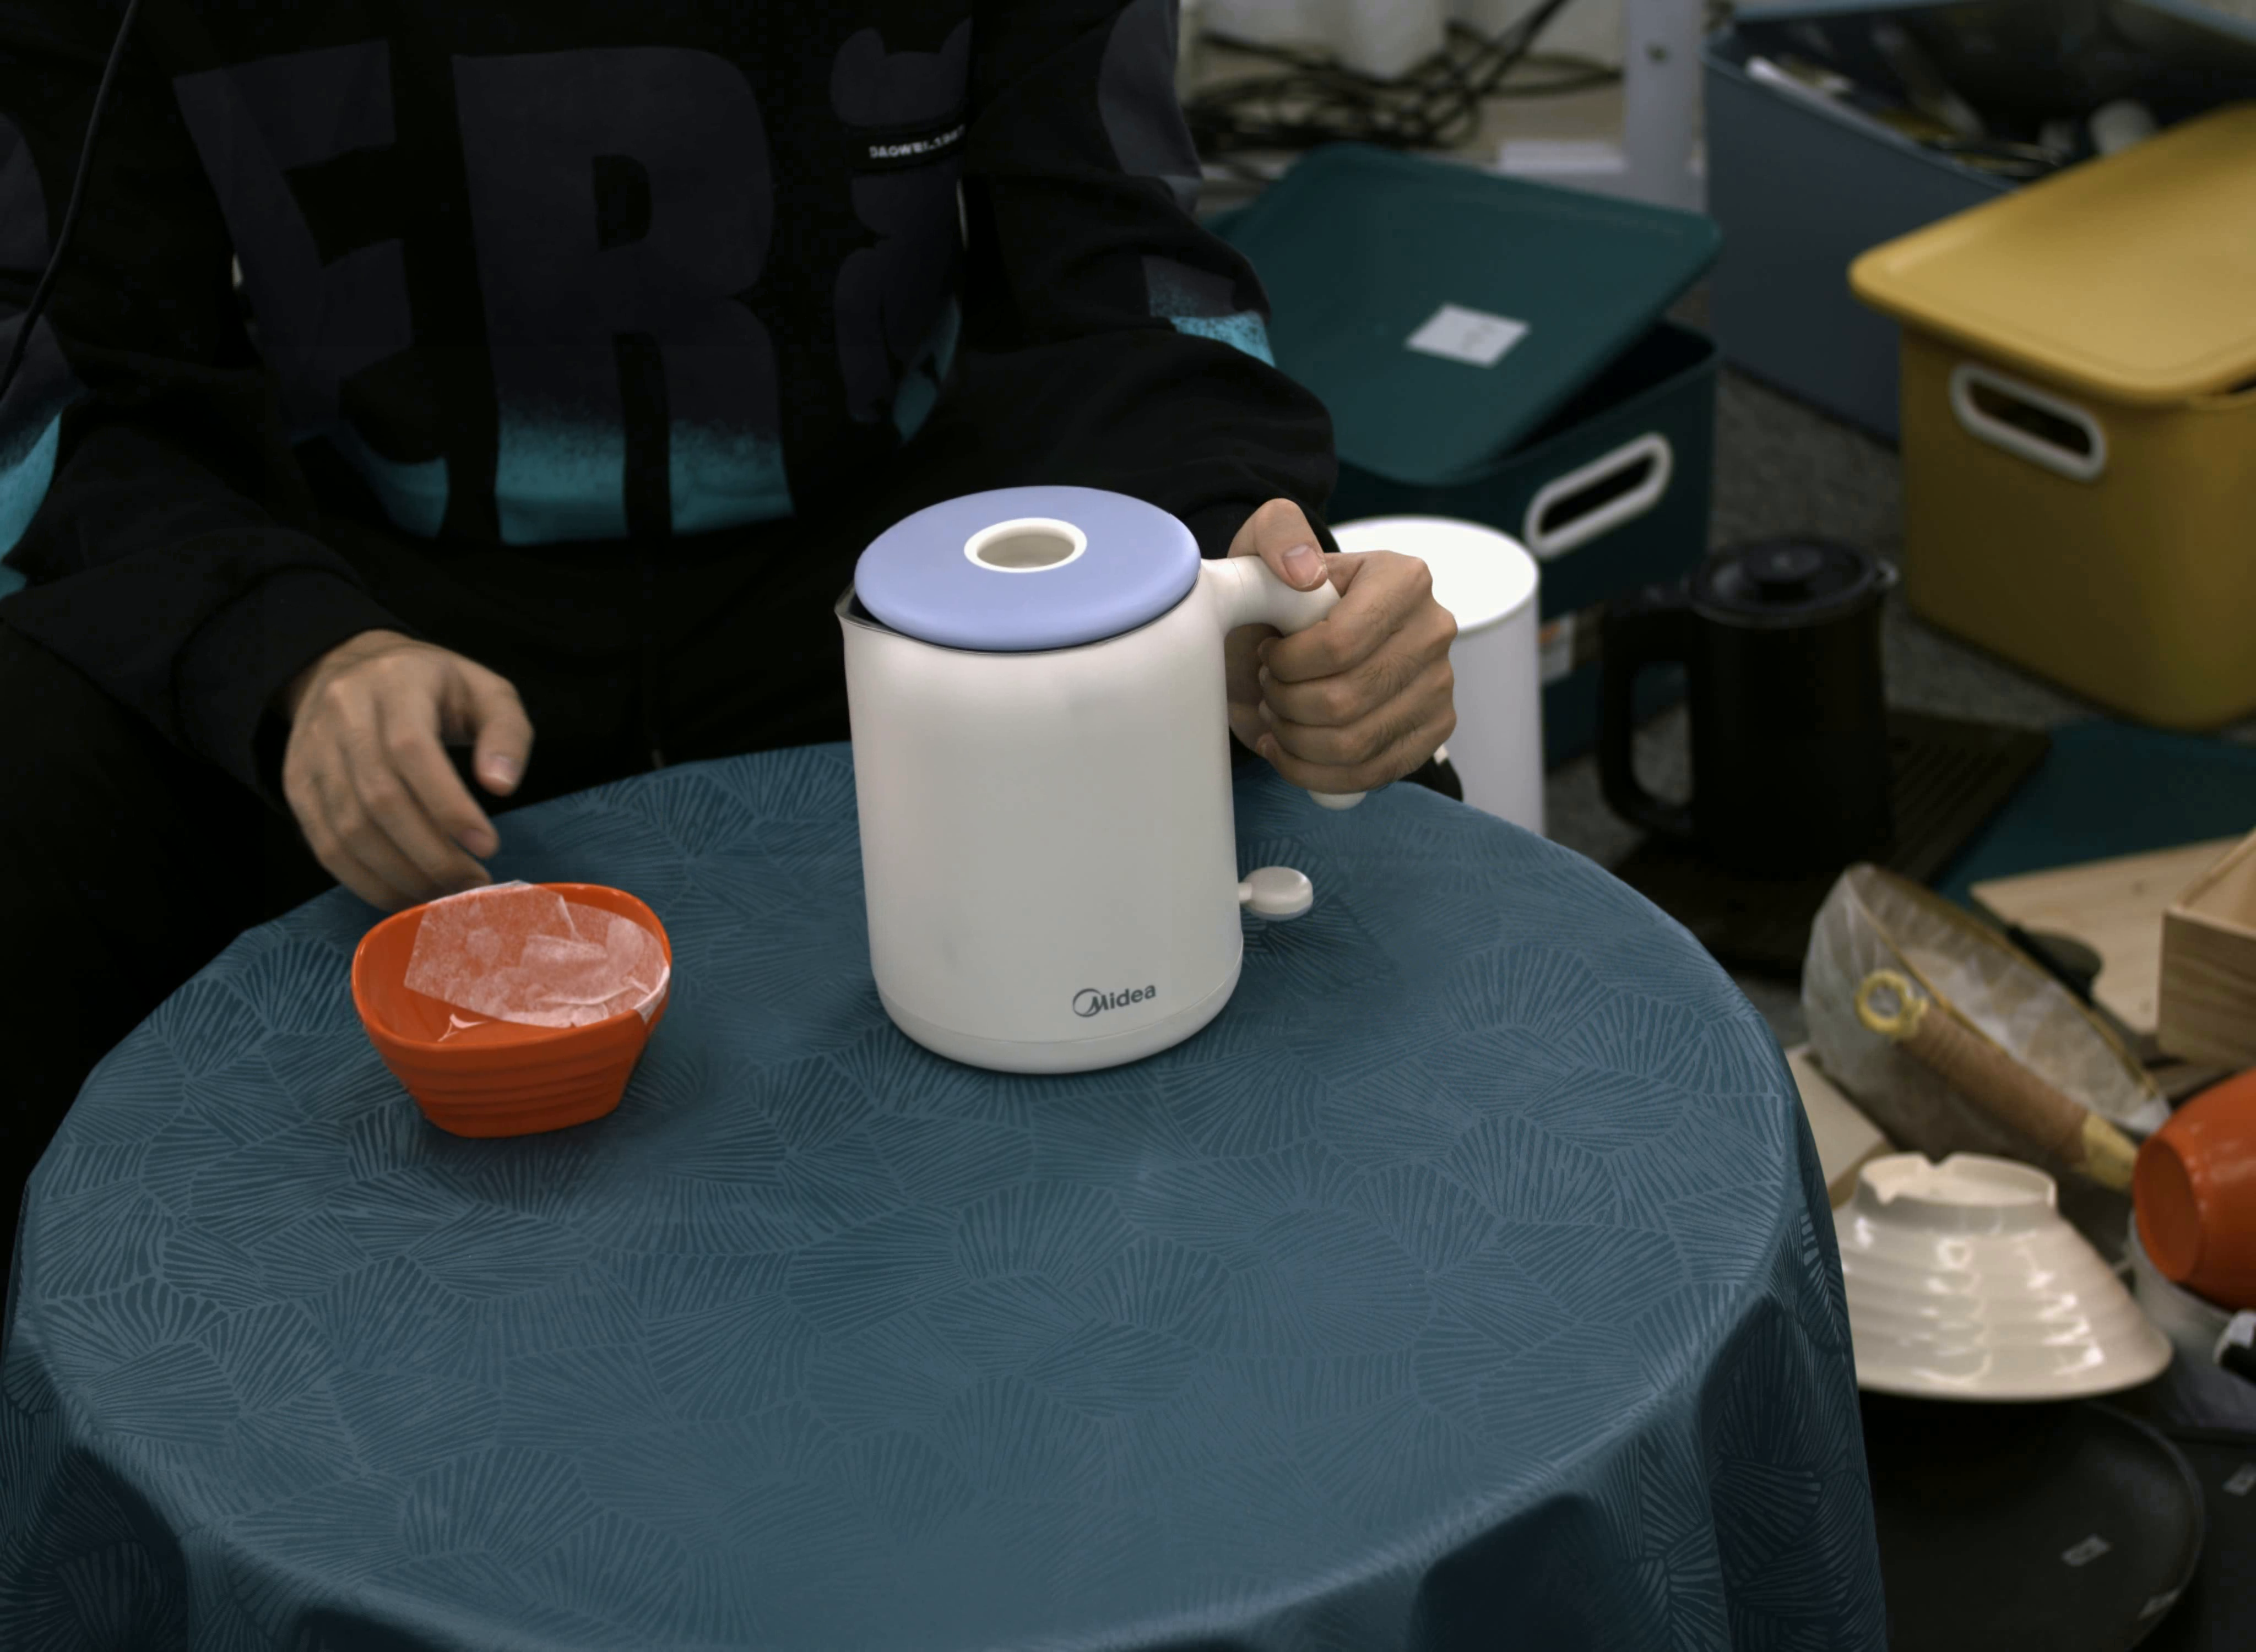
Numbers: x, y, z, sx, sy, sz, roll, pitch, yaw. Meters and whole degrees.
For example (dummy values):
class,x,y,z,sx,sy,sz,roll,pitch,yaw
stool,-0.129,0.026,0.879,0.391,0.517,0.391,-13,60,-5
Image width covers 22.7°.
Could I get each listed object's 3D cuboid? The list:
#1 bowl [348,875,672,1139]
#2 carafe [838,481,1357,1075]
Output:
class,x,y,z,sx,sy,sz,roll,pitch,yaw
bowl,-0.209,0.067,1.928,0.118,0.051,0.121,-3,30,2
carafe,-0.007,-0.022,1.954,0.191,0.180,0.133,-11,29,-19
